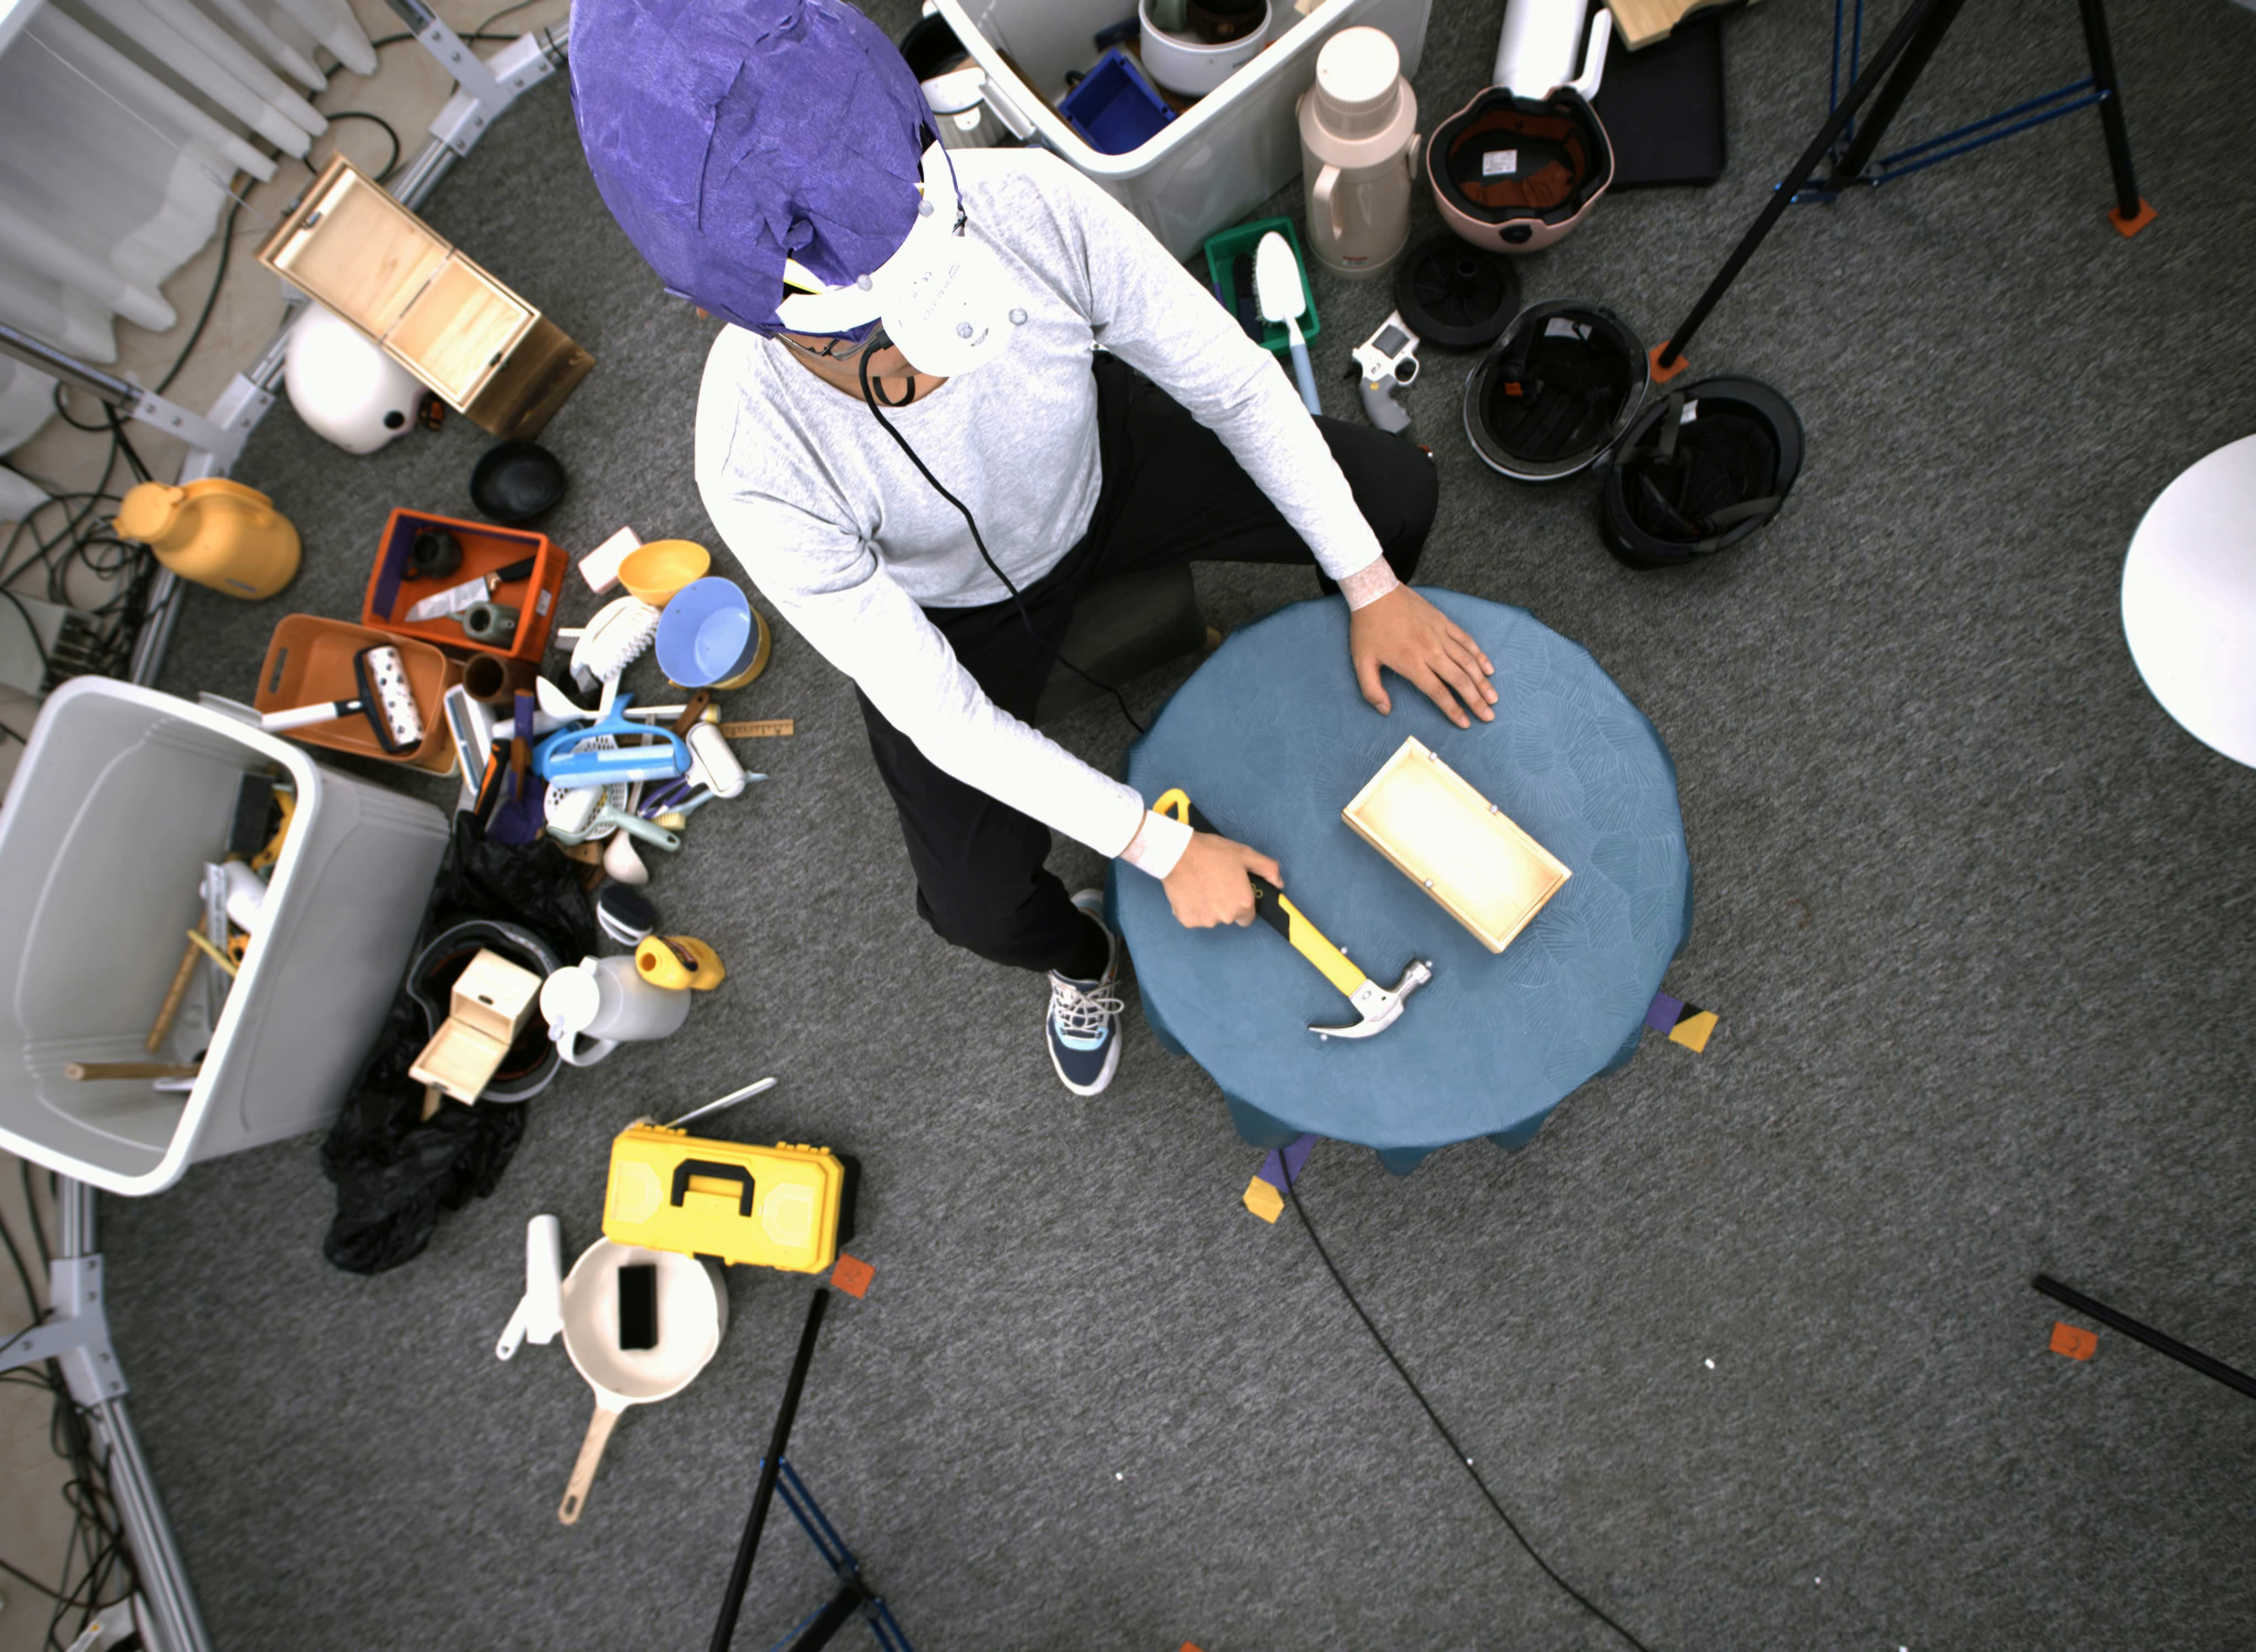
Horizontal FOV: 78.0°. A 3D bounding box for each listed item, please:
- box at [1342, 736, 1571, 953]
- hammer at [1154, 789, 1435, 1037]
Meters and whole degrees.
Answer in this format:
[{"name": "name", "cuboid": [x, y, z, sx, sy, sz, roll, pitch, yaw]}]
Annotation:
[{"name": "box", "cuboid": [0.334, 0.019, 1.412, 0.210, 0.080, 0.108, 42, 94, 10]}, {"name": "hammer", "cuboid": [0.156, 0.086, 1.461, 0.337, 0.032, 0.132, 44, 97, 8]}]
